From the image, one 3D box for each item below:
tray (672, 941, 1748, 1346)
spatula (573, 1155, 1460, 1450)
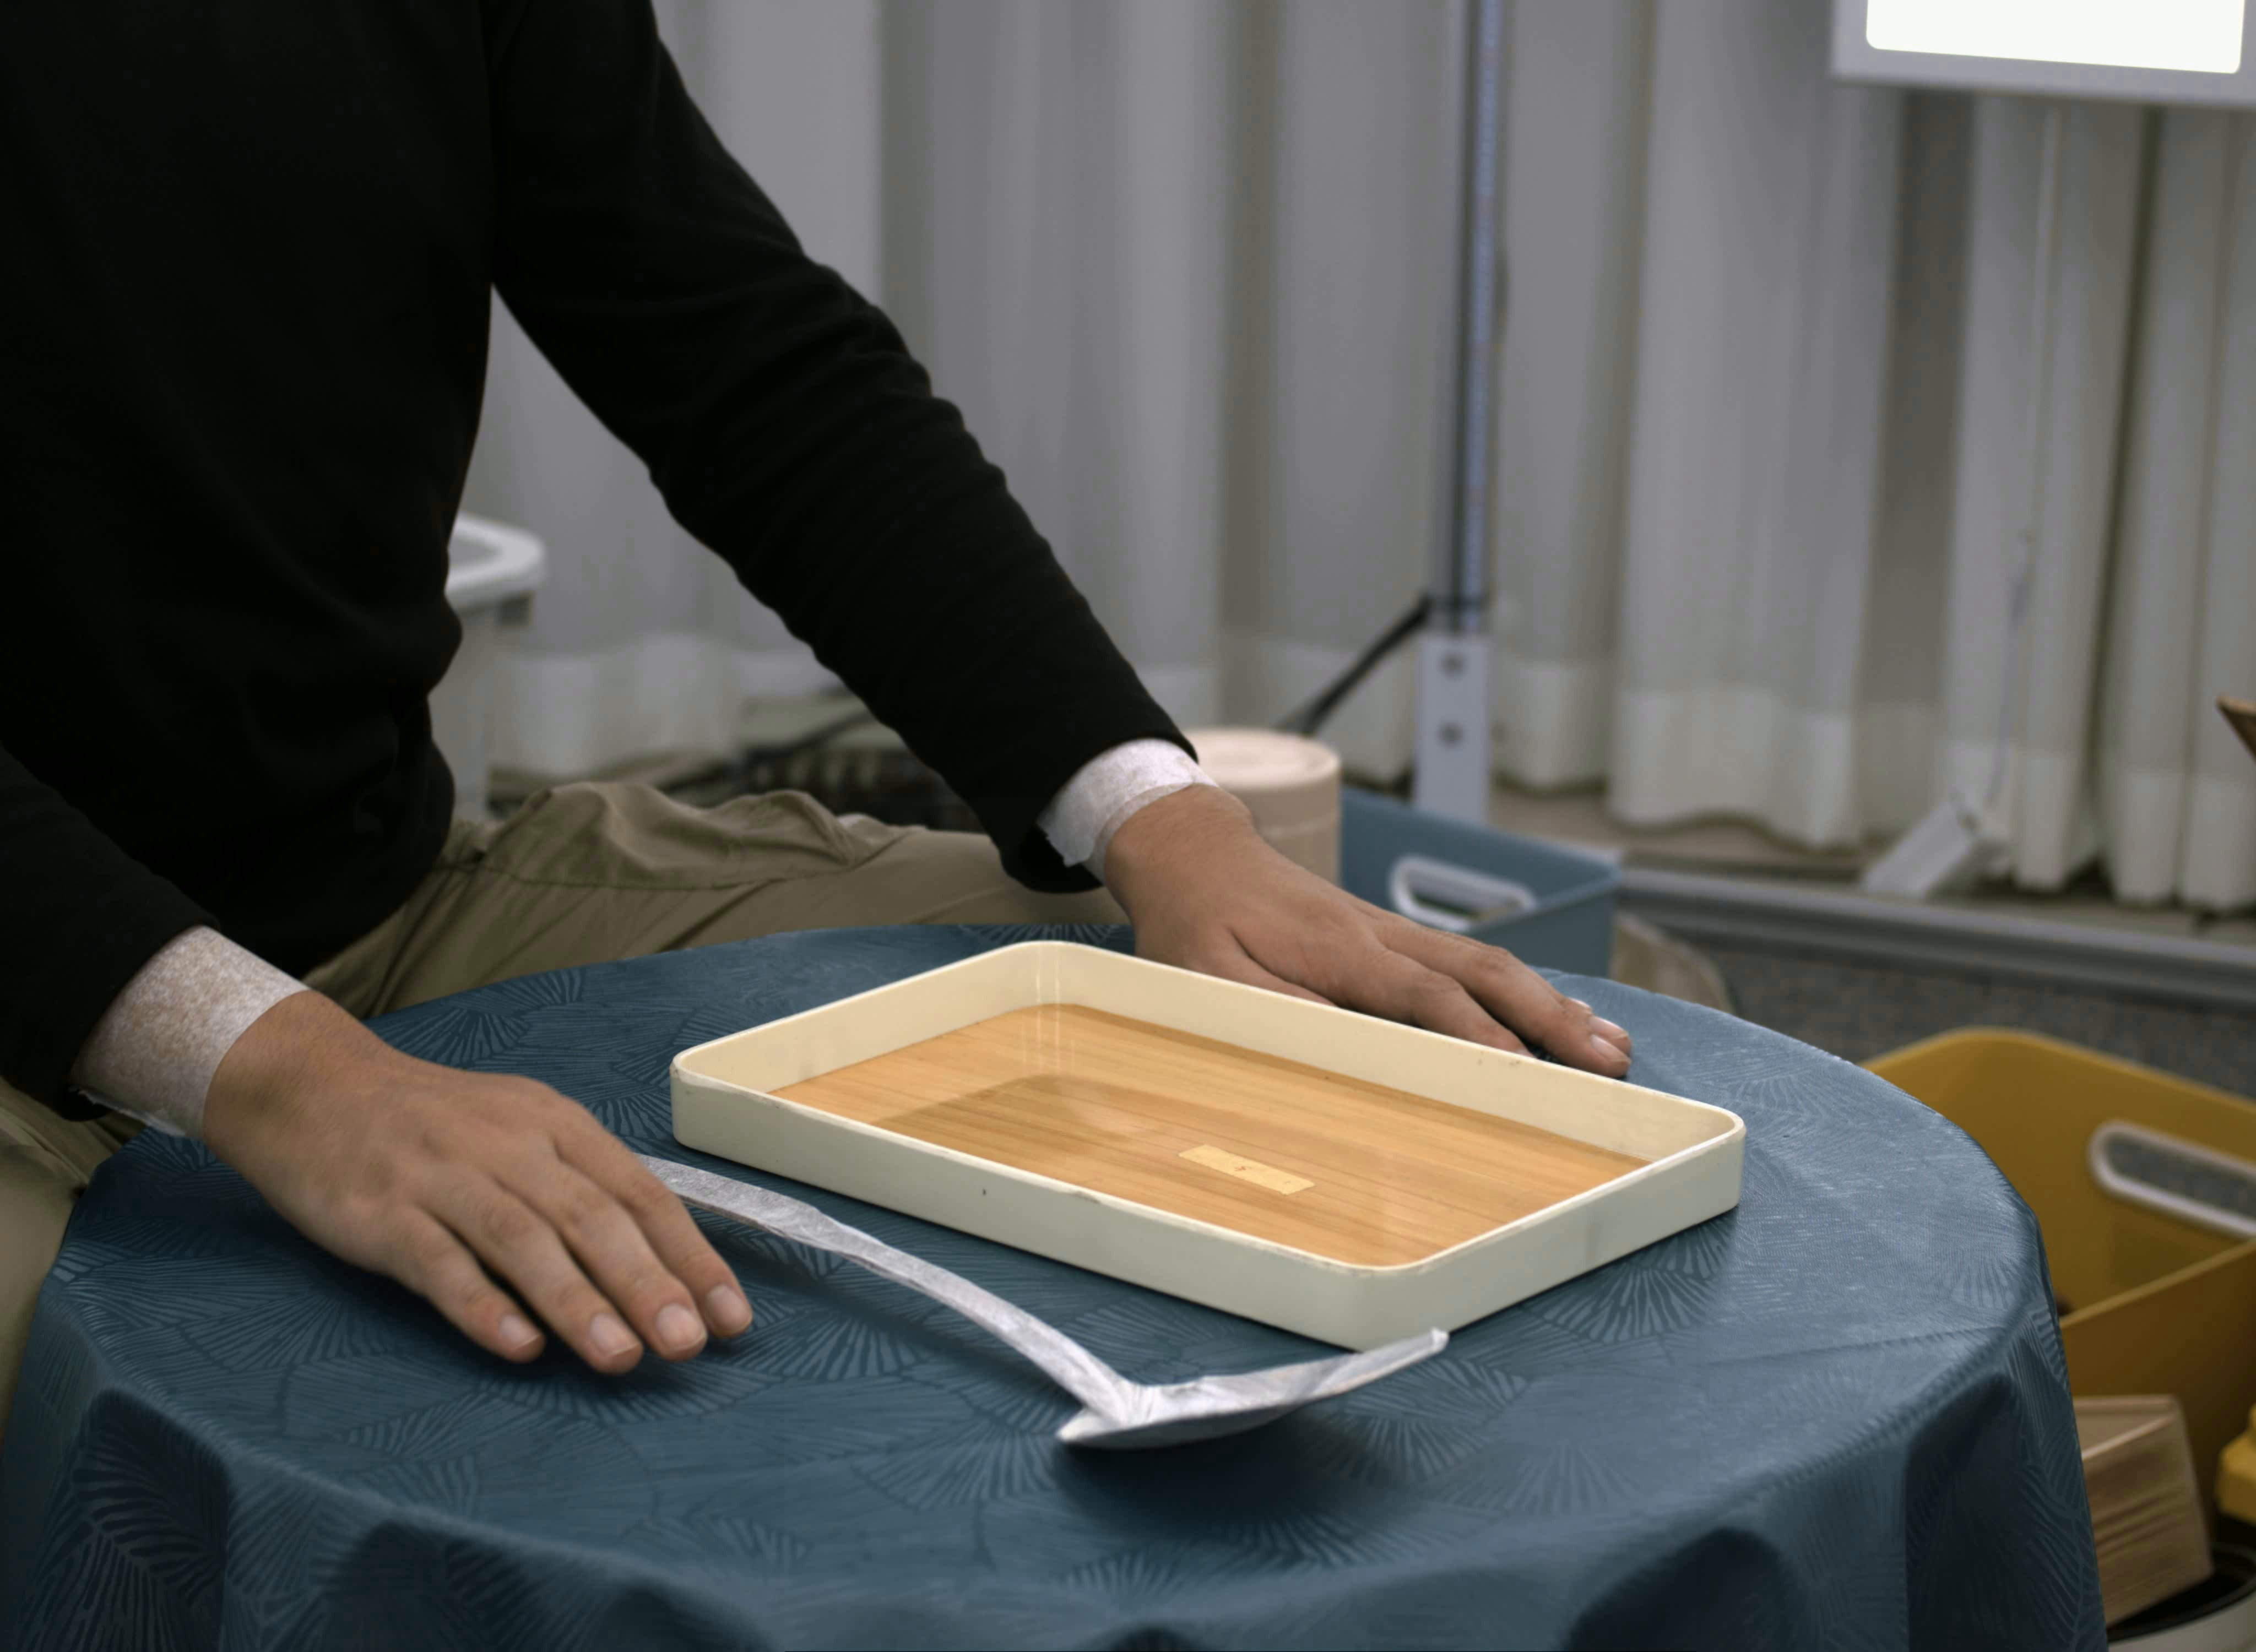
[{"bbox_3d":[0.023,0.094,1.637,0.296,0.027,0.192,13,20,39],"label":"tray"},{"bbox_3d":[-0.056,0.125,1.500,0.099,0.045,0.360,-14,21,-40],"label":"spatula"}]
